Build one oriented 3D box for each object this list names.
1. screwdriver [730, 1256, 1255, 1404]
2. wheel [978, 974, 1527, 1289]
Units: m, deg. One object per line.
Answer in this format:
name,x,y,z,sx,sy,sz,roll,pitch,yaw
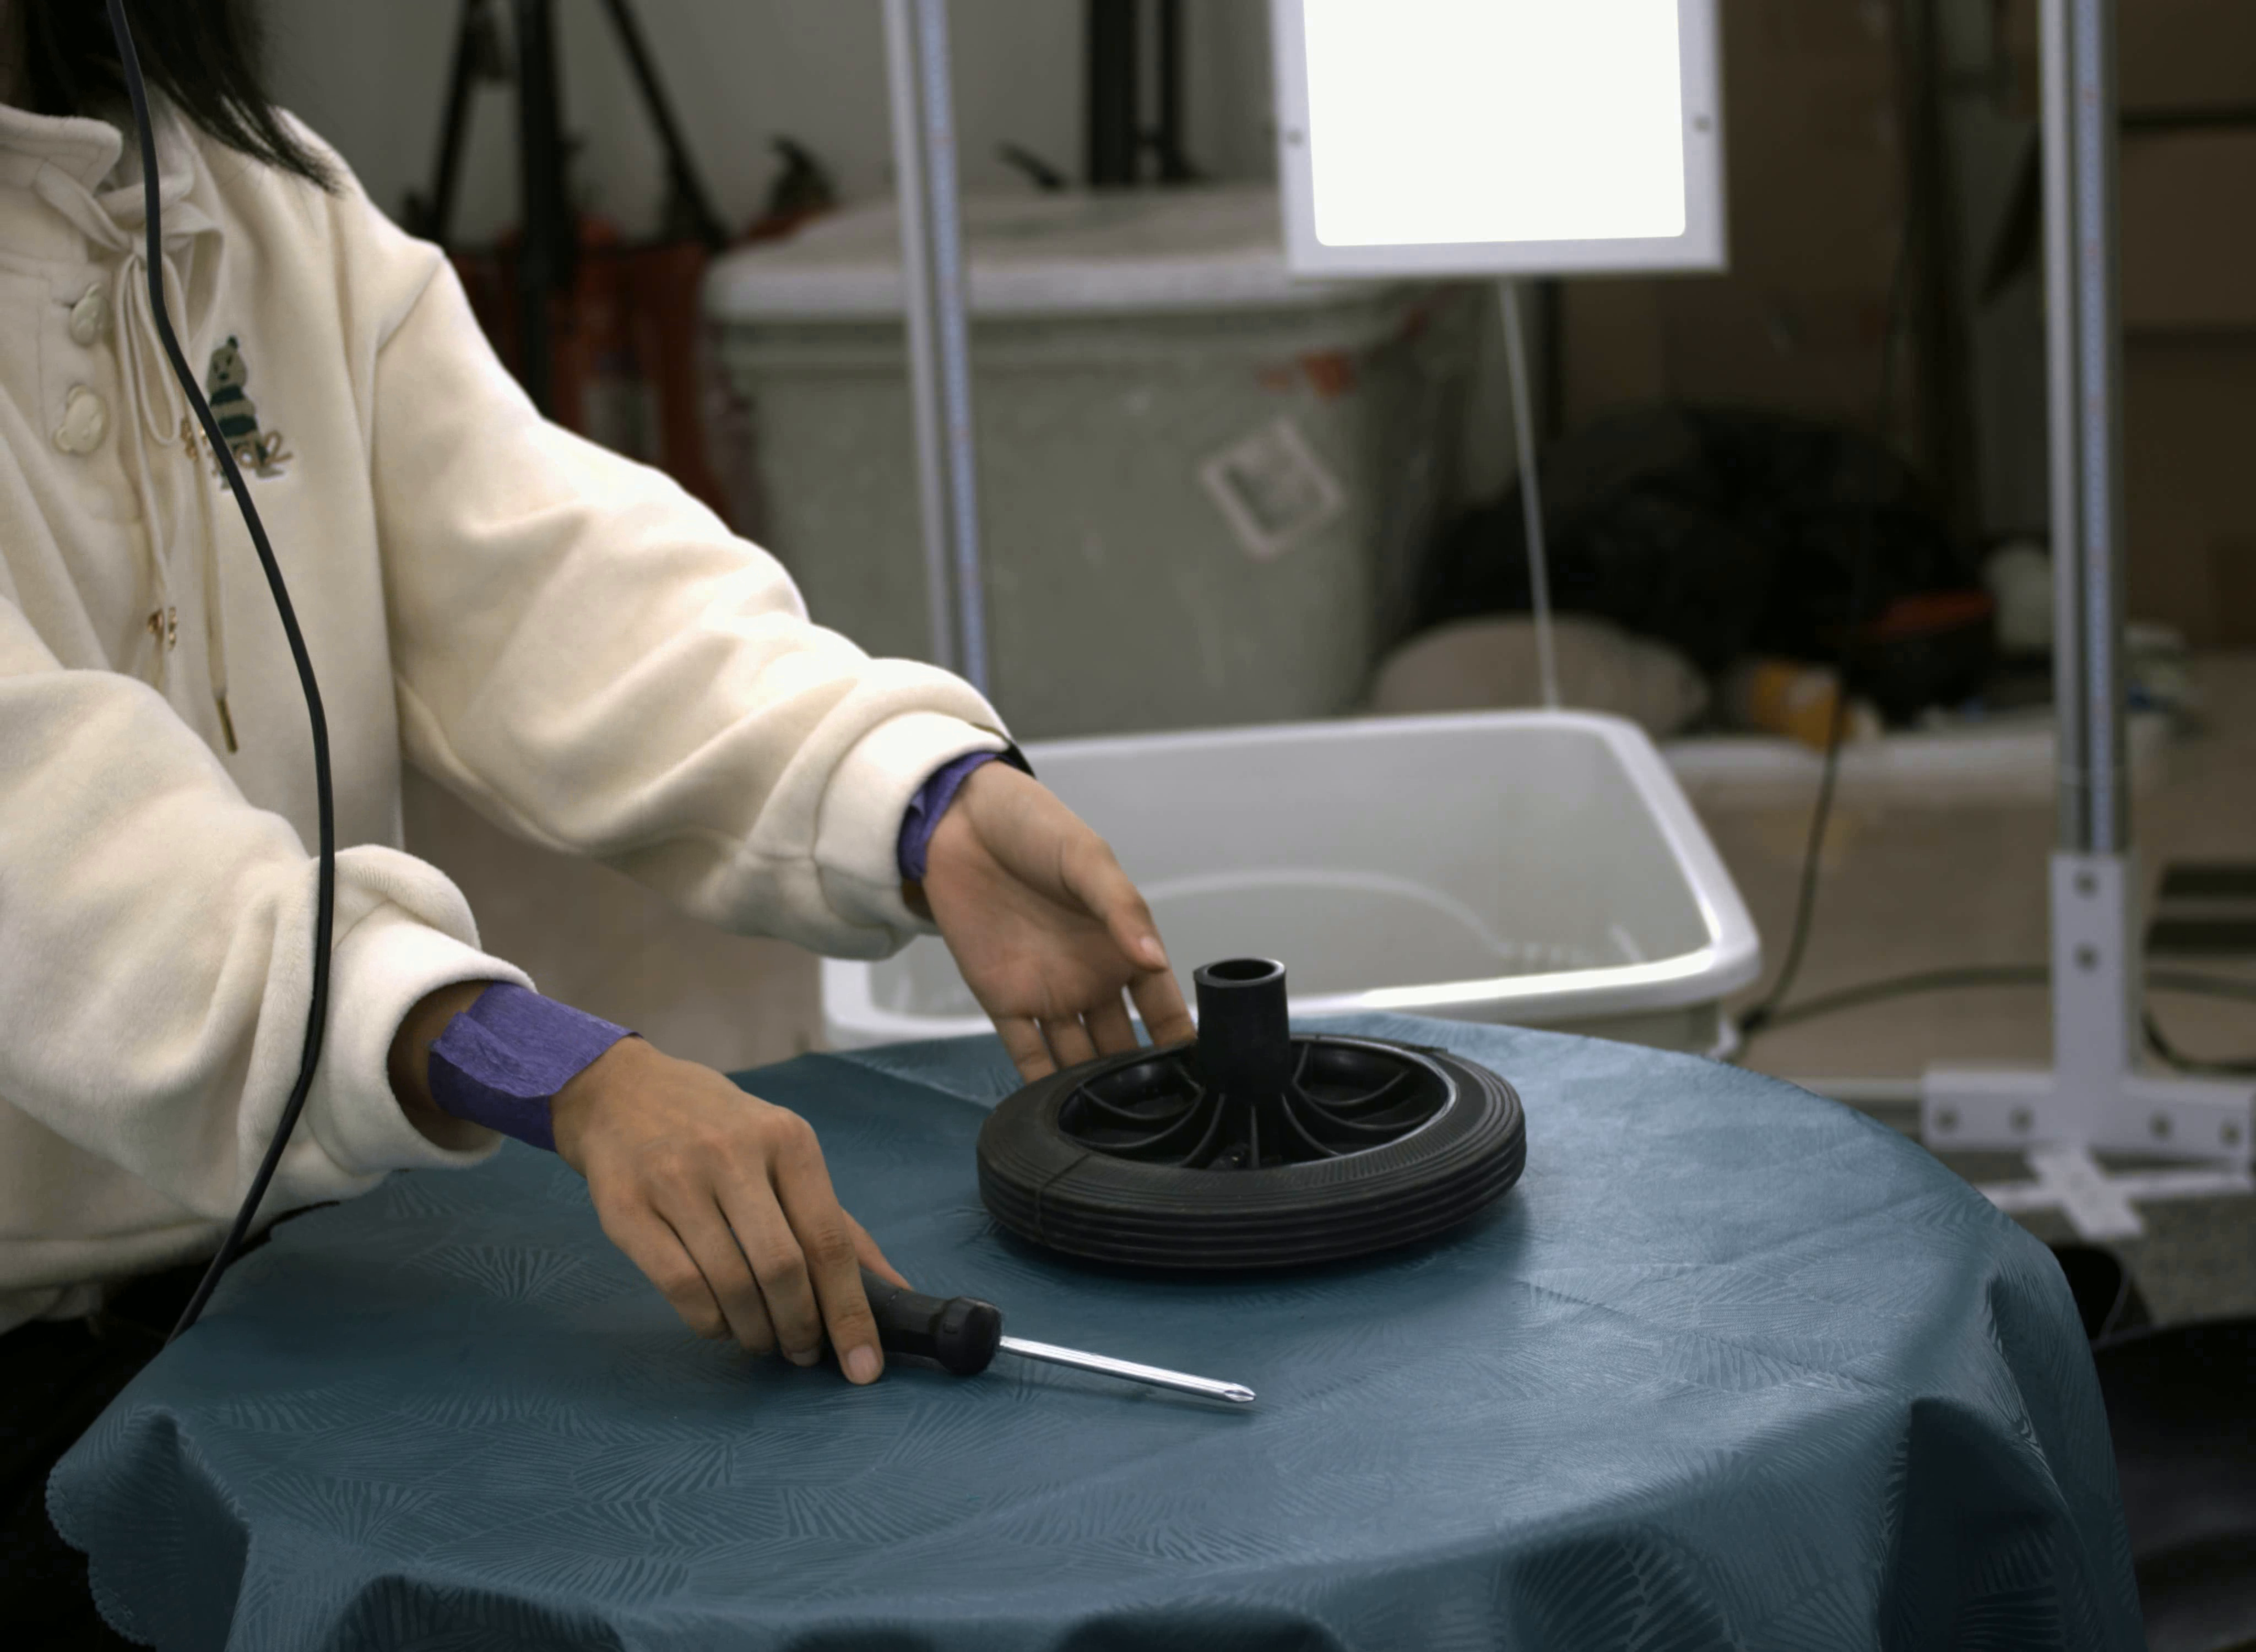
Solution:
screwdriver,-0.041,0.159,1.729,0.200,0.031,0.031,6,17,32
wheel,0.041,0.093,1.866,0.186,0.079,0.190,-5,18,-2
